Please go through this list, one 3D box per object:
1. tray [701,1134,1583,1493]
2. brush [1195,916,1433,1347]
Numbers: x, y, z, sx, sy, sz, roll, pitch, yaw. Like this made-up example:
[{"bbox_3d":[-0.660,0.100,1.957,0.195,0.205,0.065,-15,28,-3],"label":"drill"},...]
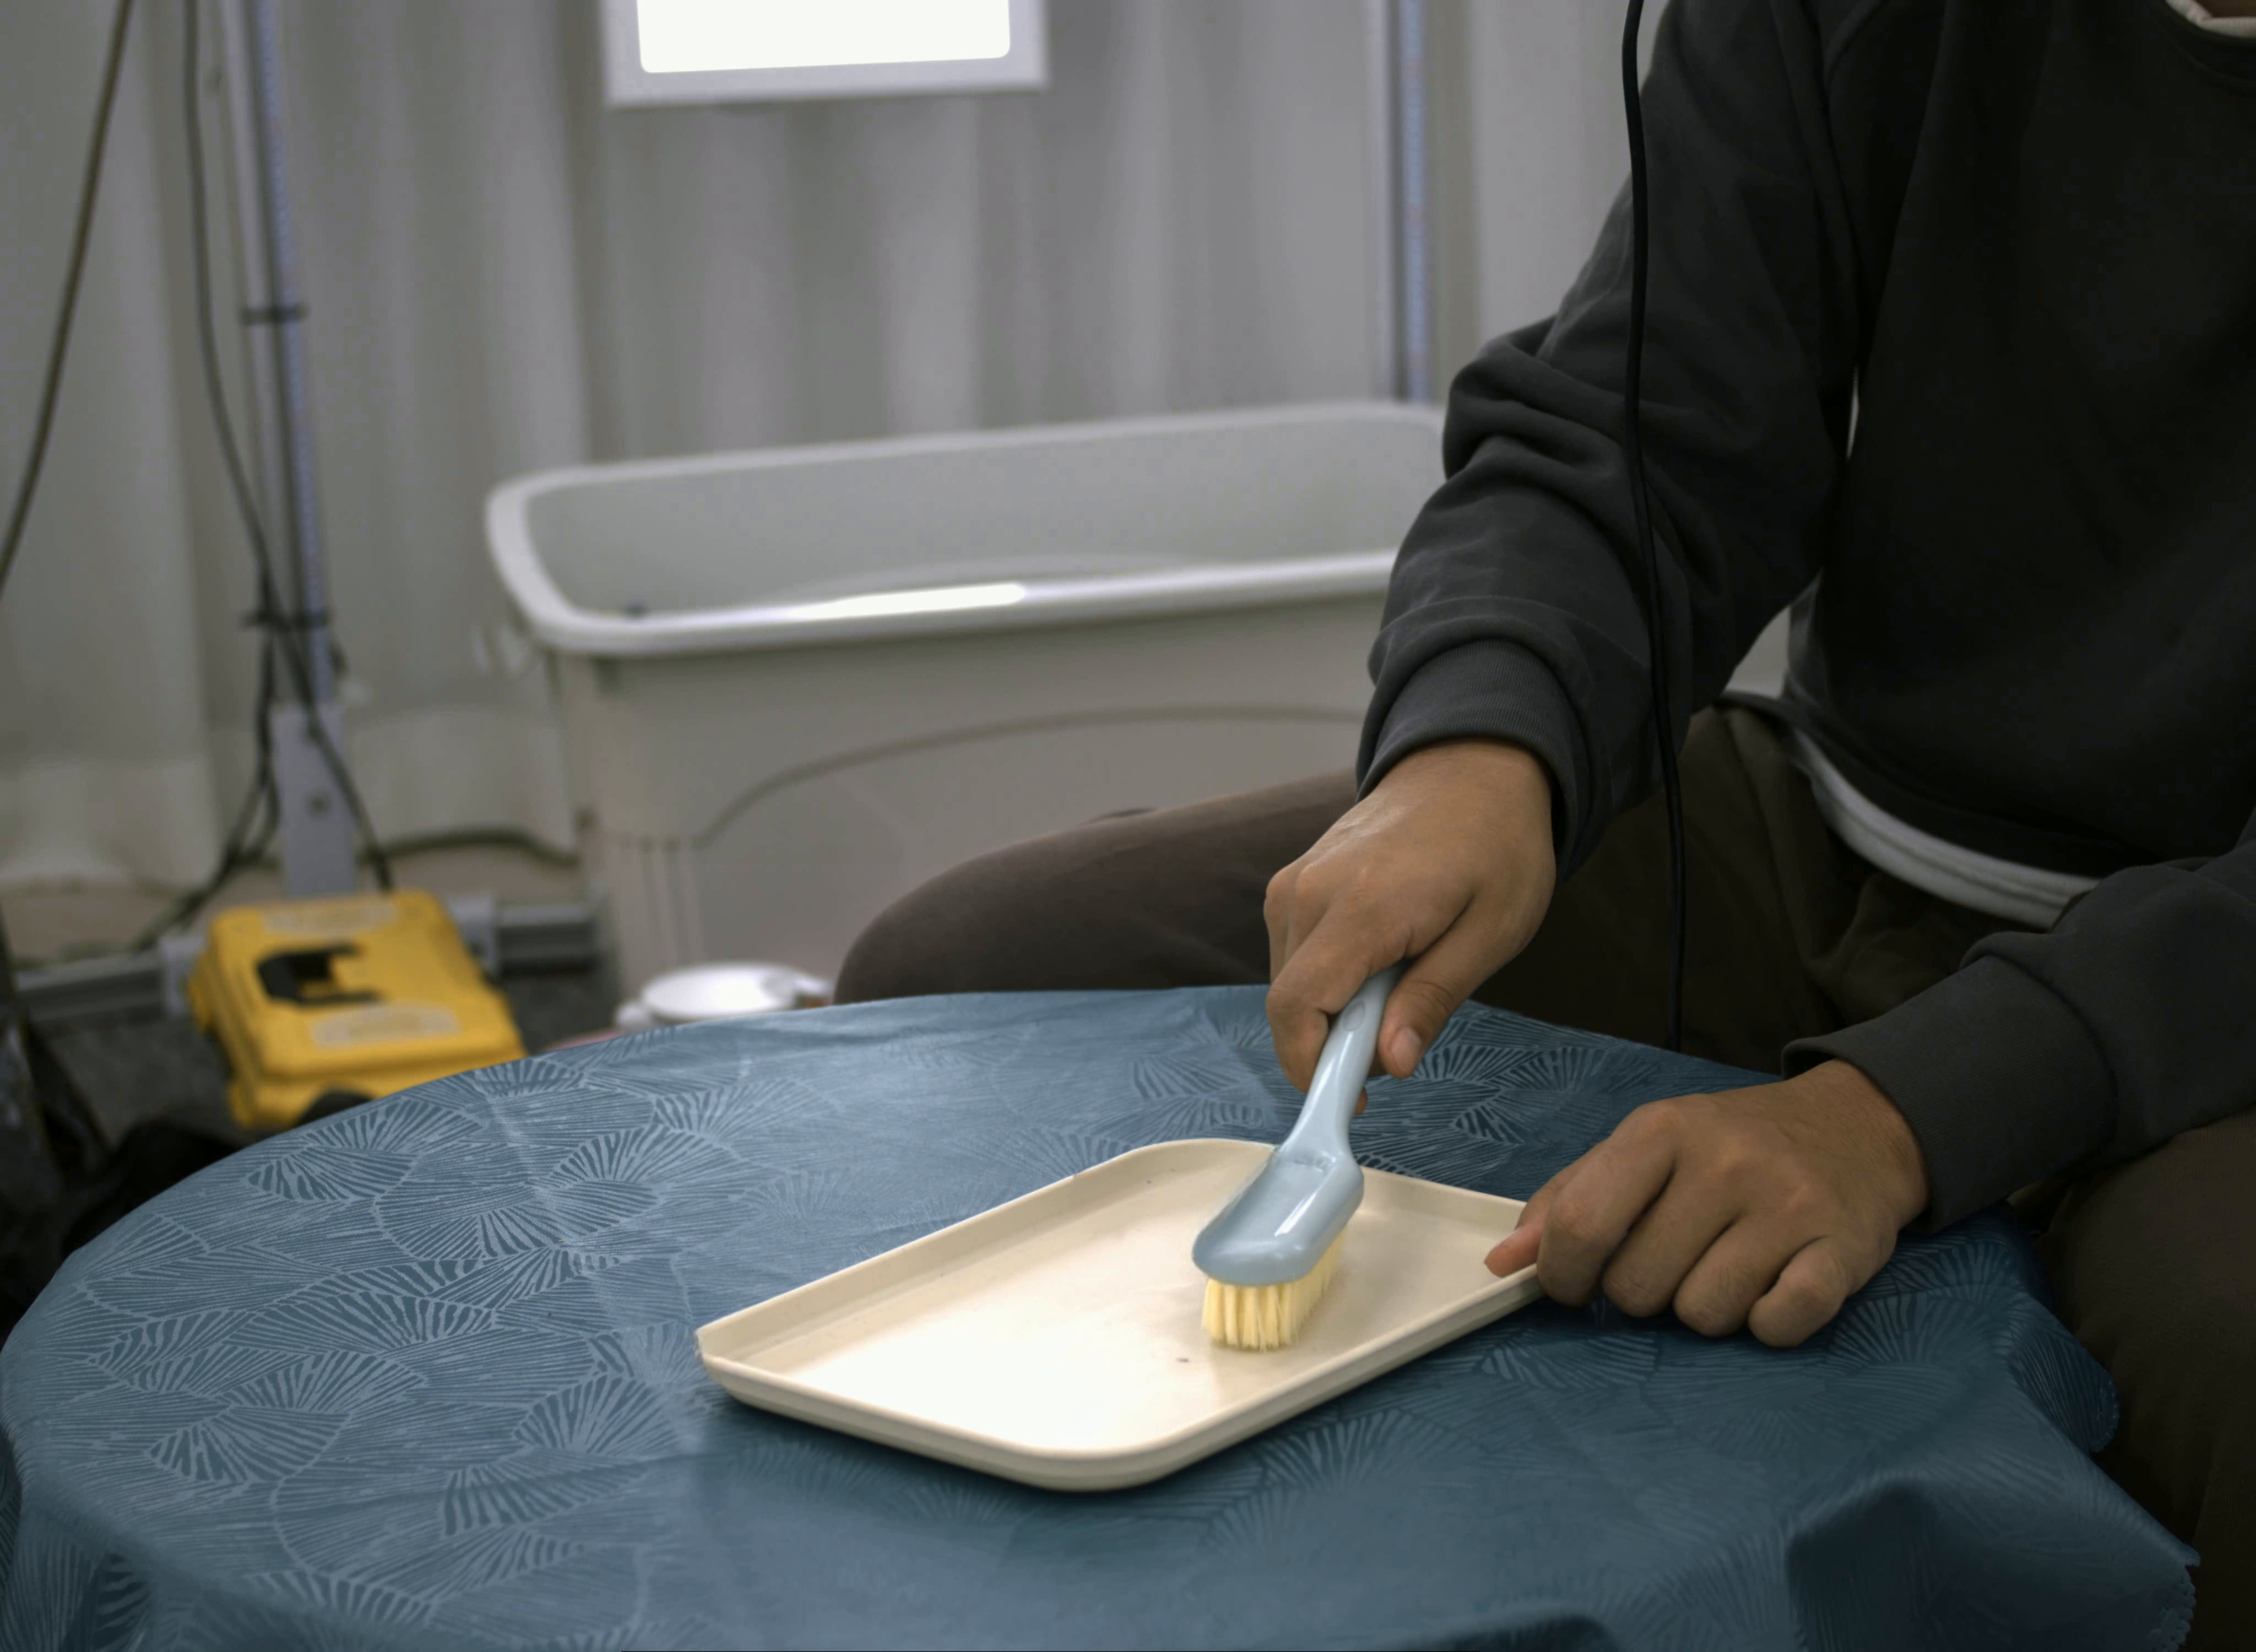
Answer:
[{"bbox_3d":[0.007,0.140,1.586,0.172,0.017,0.239,11,20,40],"label":"tray"},{"bbox_3d":[0.061,0.089,1.658,0.038,0.049,0.231,6,29,12],"label":"brush"}]
